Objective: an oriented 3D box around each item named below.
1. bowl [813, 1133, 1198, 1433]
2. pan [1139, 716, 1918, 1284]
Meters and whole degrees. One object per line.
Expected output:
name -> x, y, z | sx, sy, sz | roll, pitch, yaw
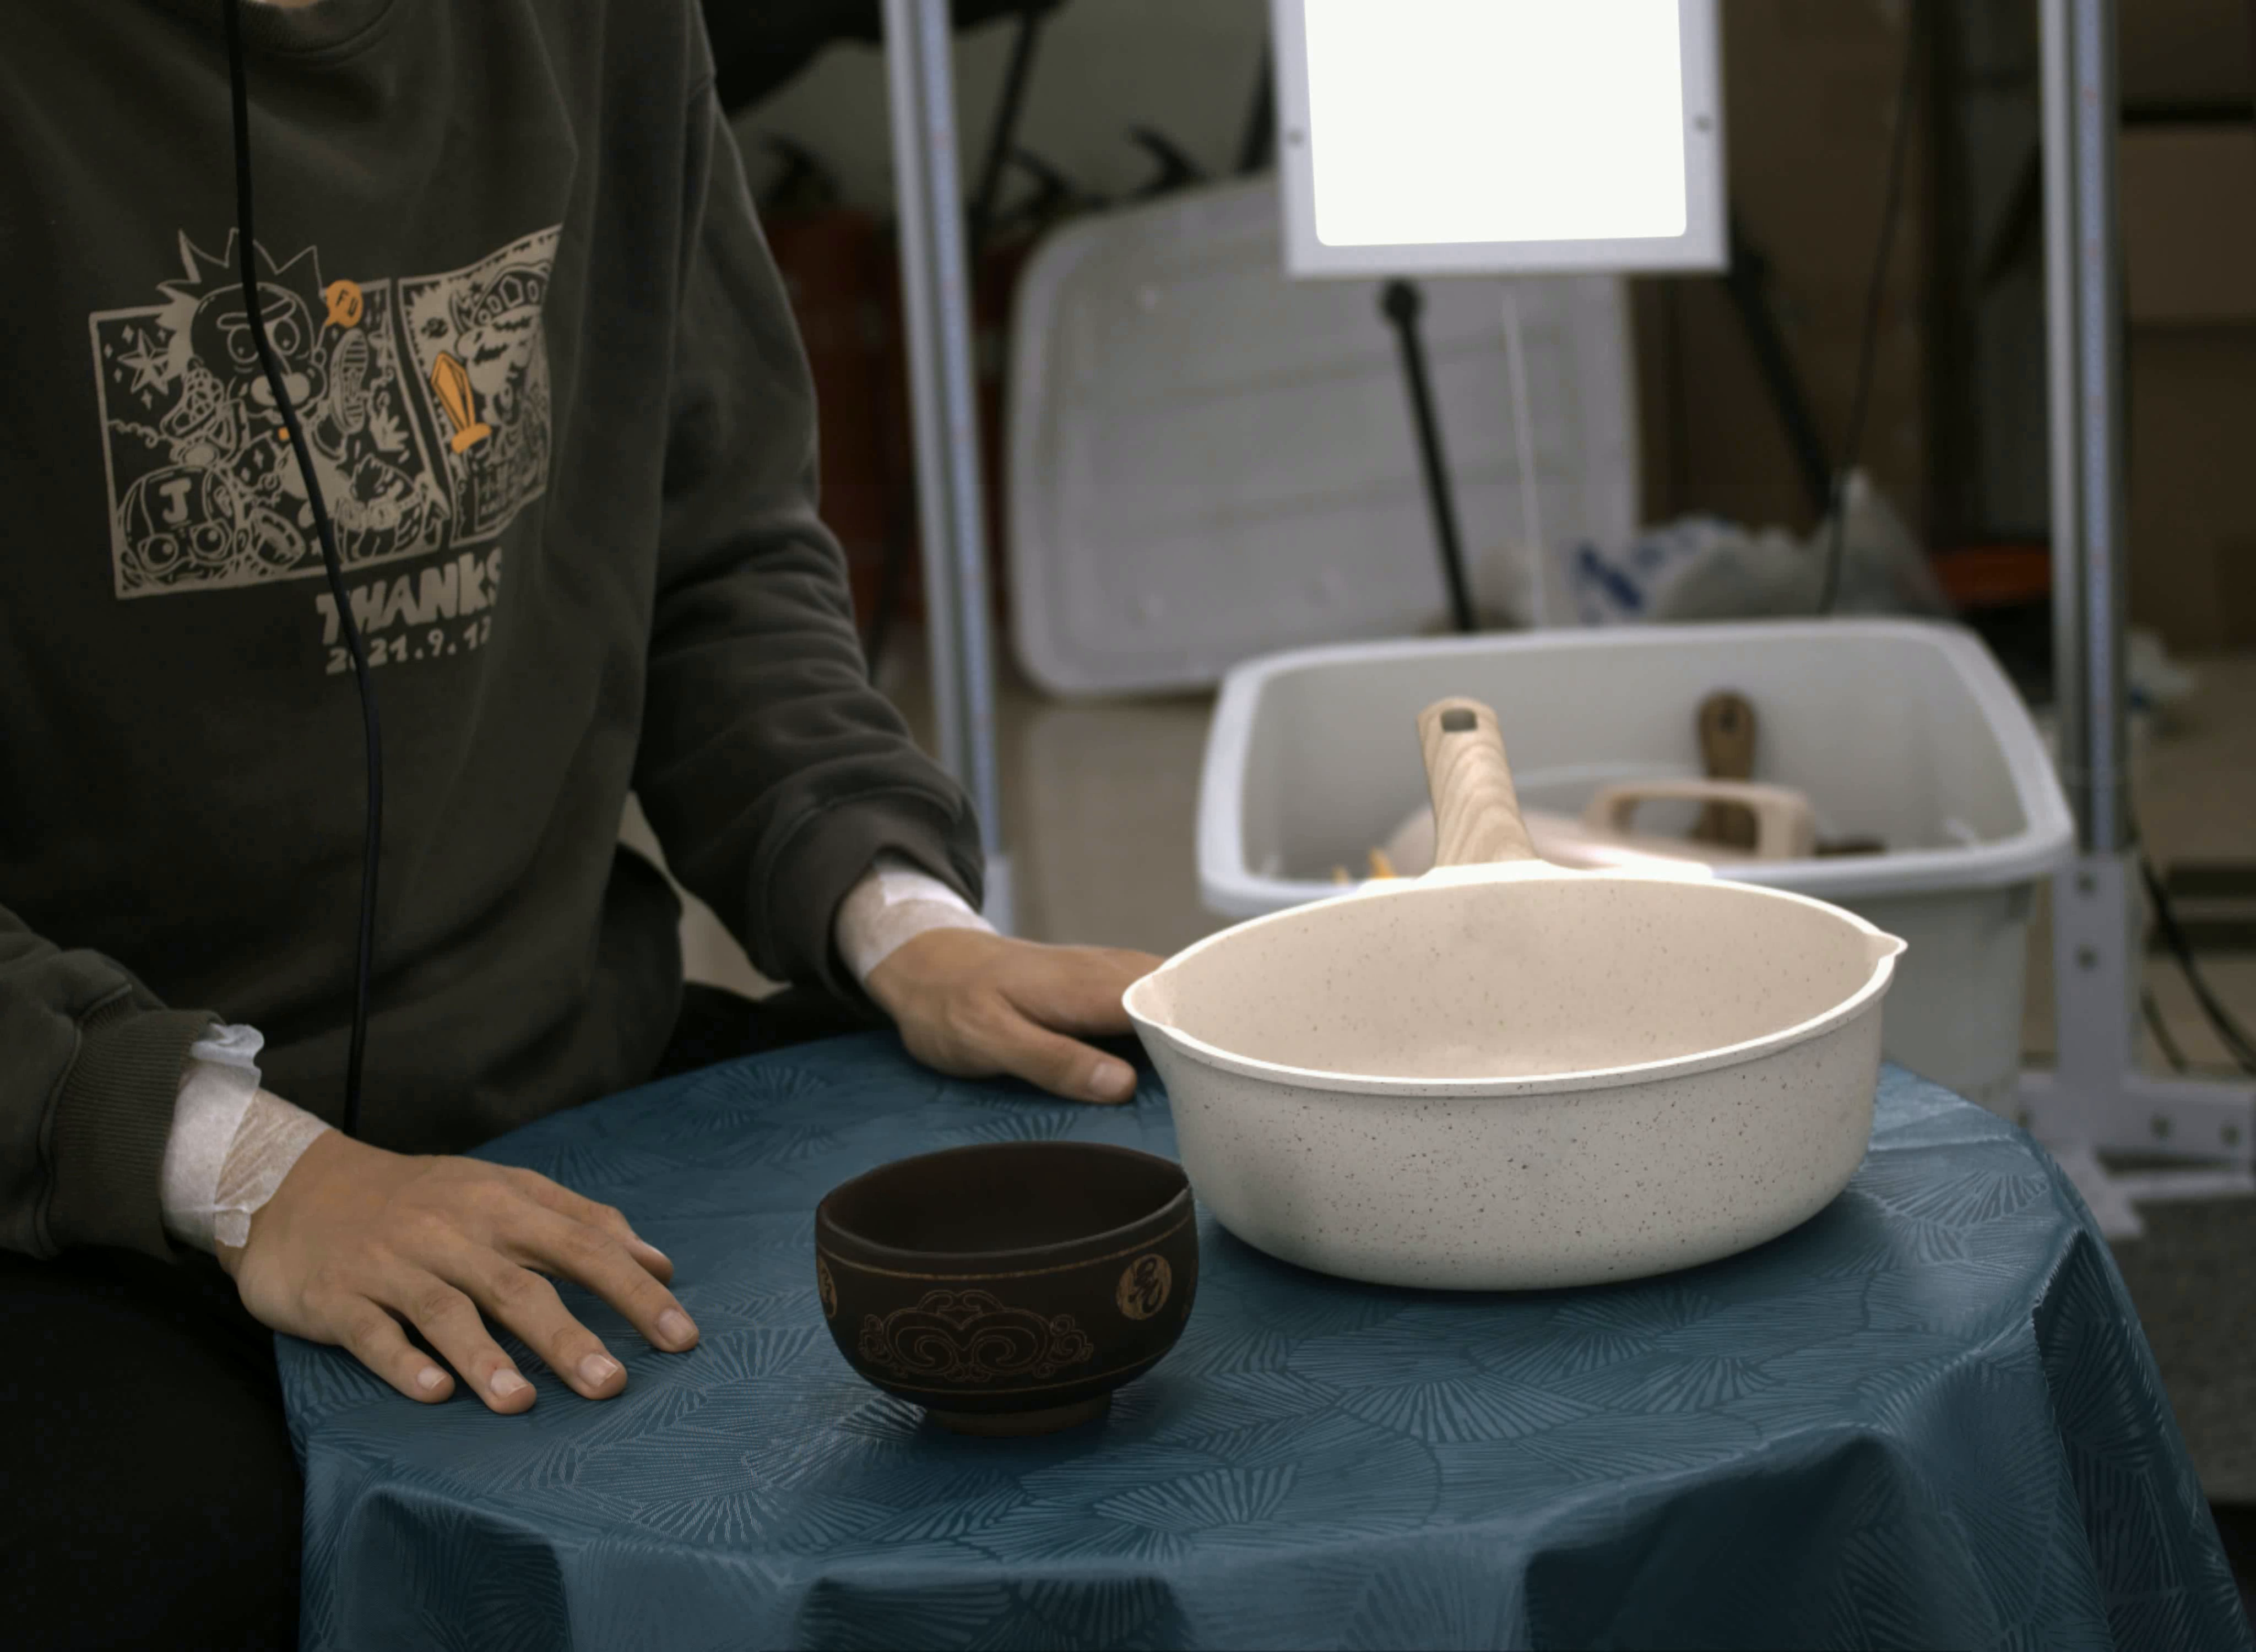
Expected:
bowl -> -0.036, 0.144, 1.688 | 0.118, 0.070, 0.118 | -5, 15, 0
pan -> 0.136, 0.056, 1.925 | 0.263, 0.102, 0.434 | -7, 13, 2
